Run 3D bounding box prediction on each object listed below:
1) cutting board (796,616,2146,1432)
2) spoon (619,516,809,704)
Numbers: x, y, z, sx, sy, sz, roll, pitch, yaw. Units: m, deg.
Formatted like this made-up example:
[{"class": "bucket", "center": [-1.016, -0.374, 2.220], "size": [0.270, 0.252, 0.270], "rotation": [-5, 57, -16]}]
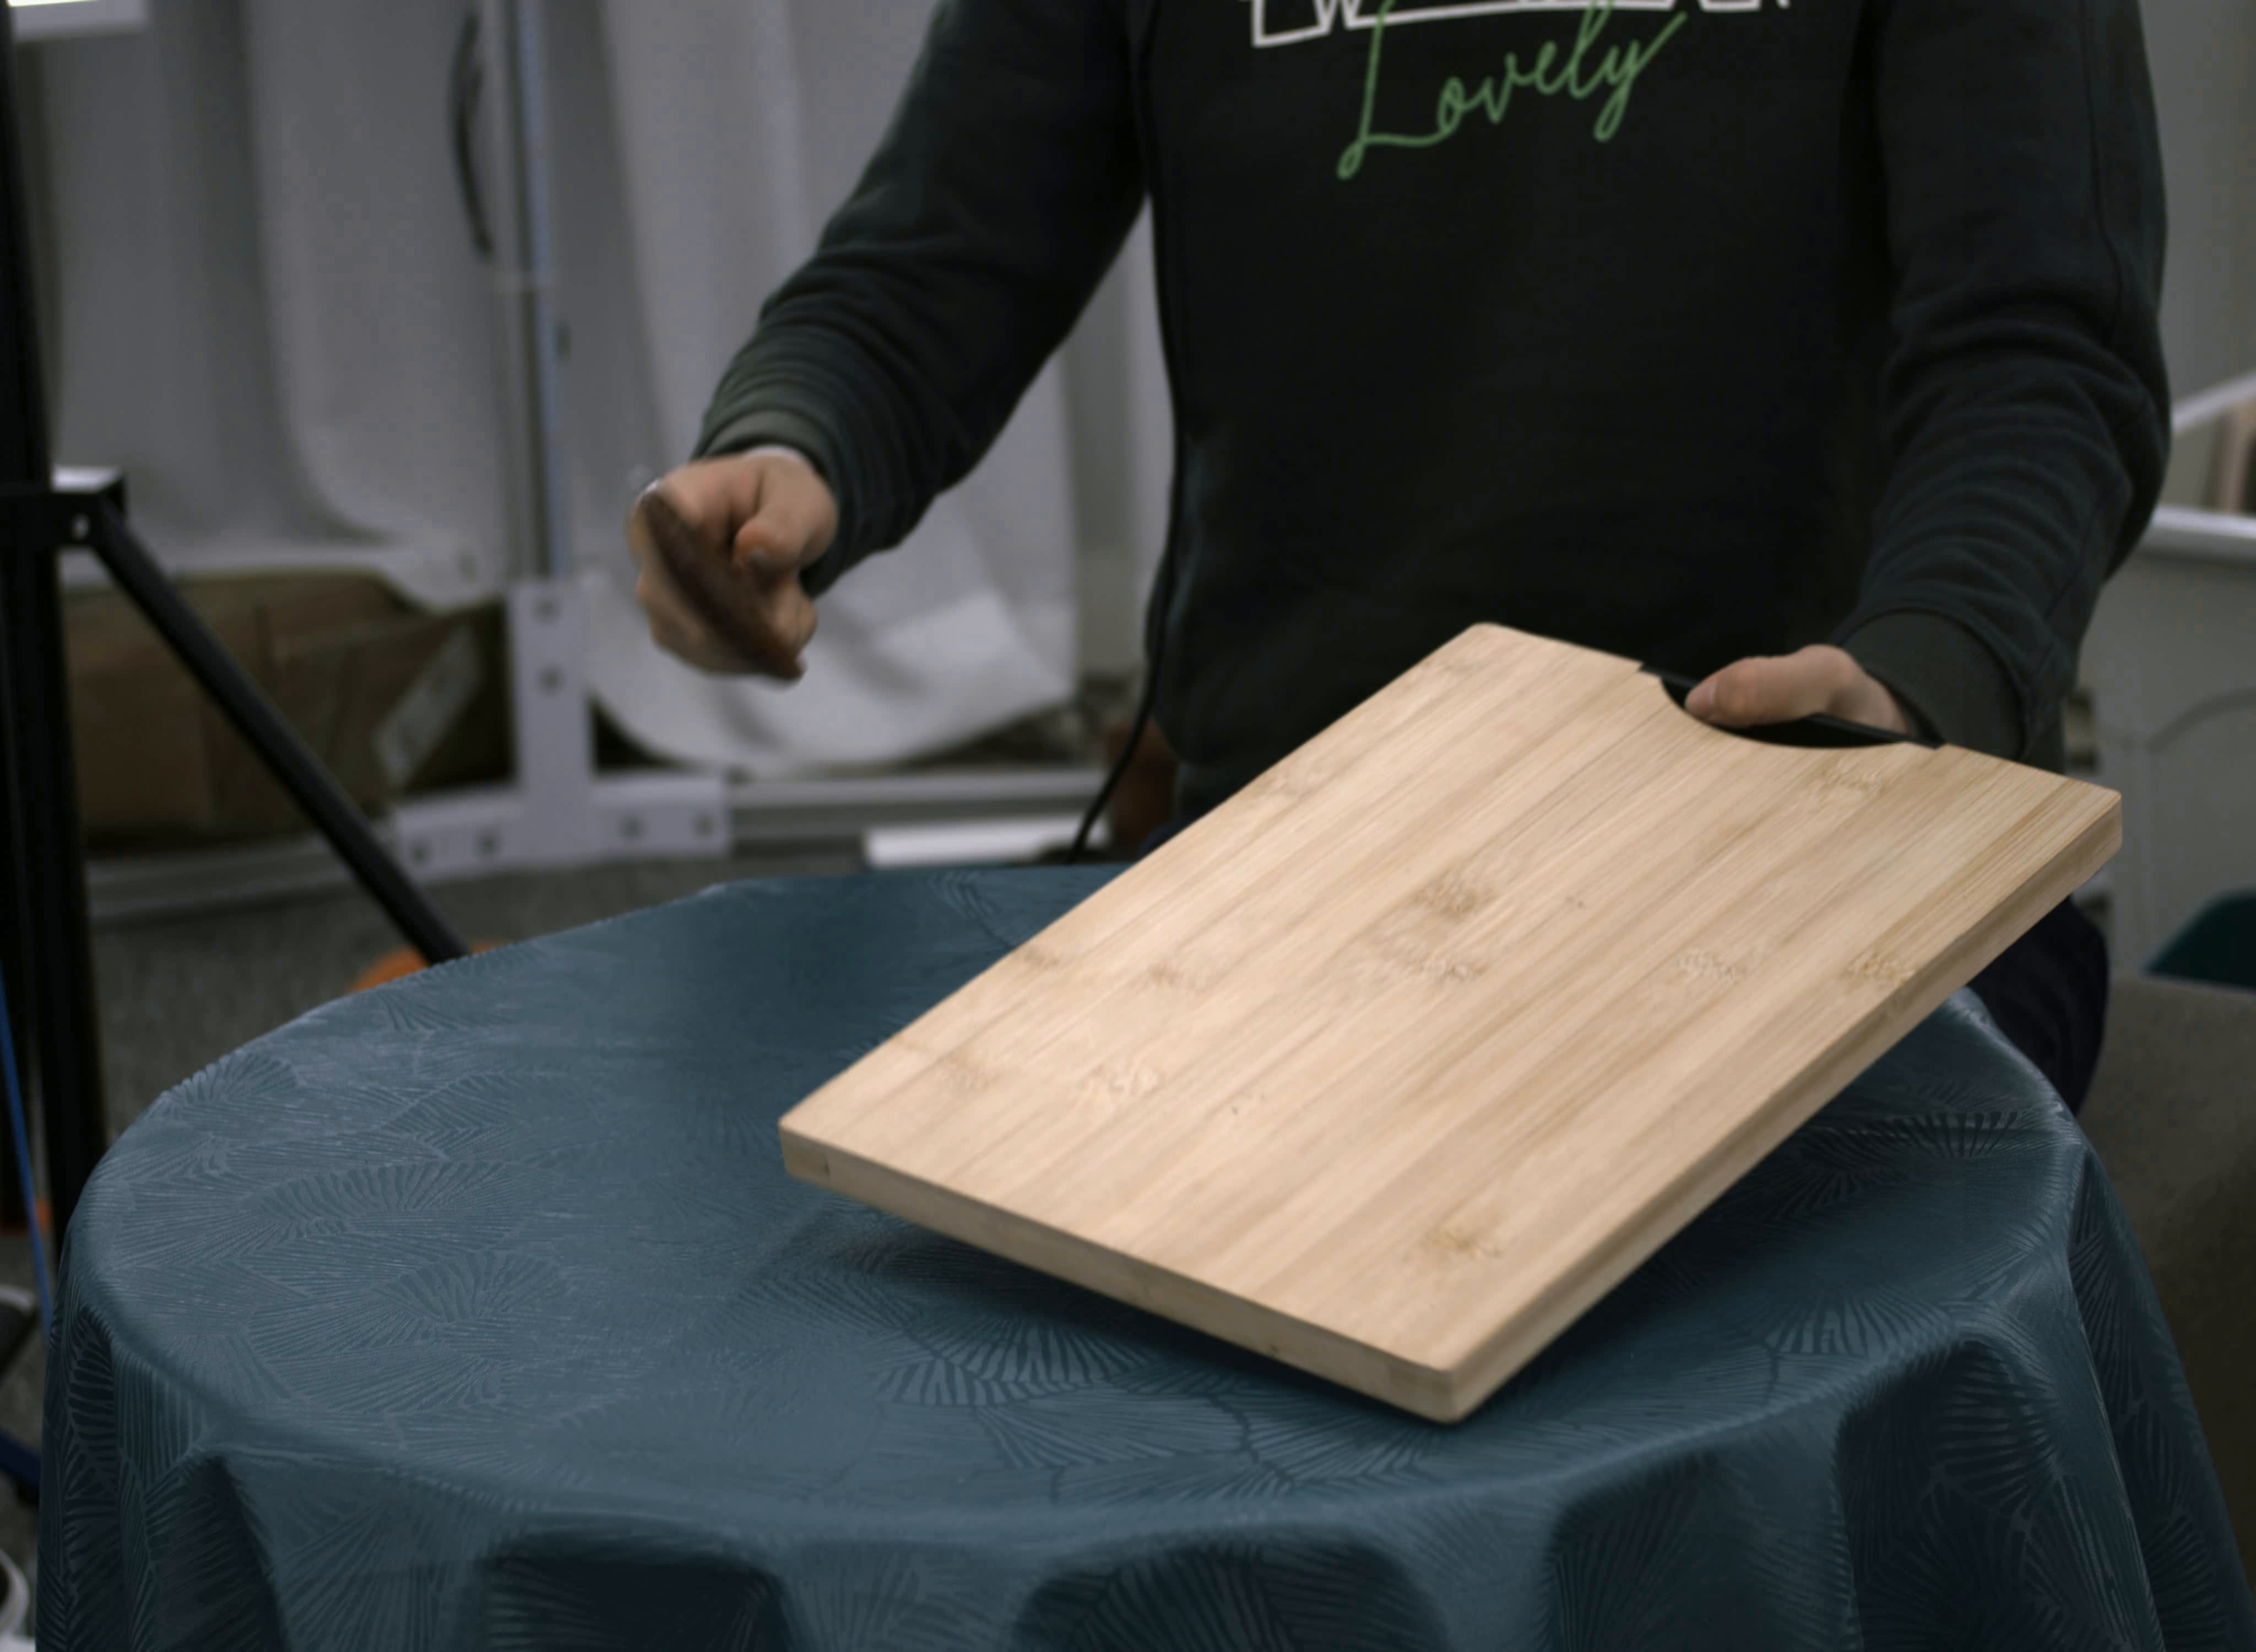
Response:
[{"class": "cutting board", "center": [0.103, 0.045, 1.541], "size": [0.256, 0.023, 0.343], "rotation": [17, 38, 36]}, {"class": "spoon", "center": [-0.126, -0.067, 1.664], "size": [0.017, 0.075, 0.216], "rotation": [-43, 3, 4]}]
